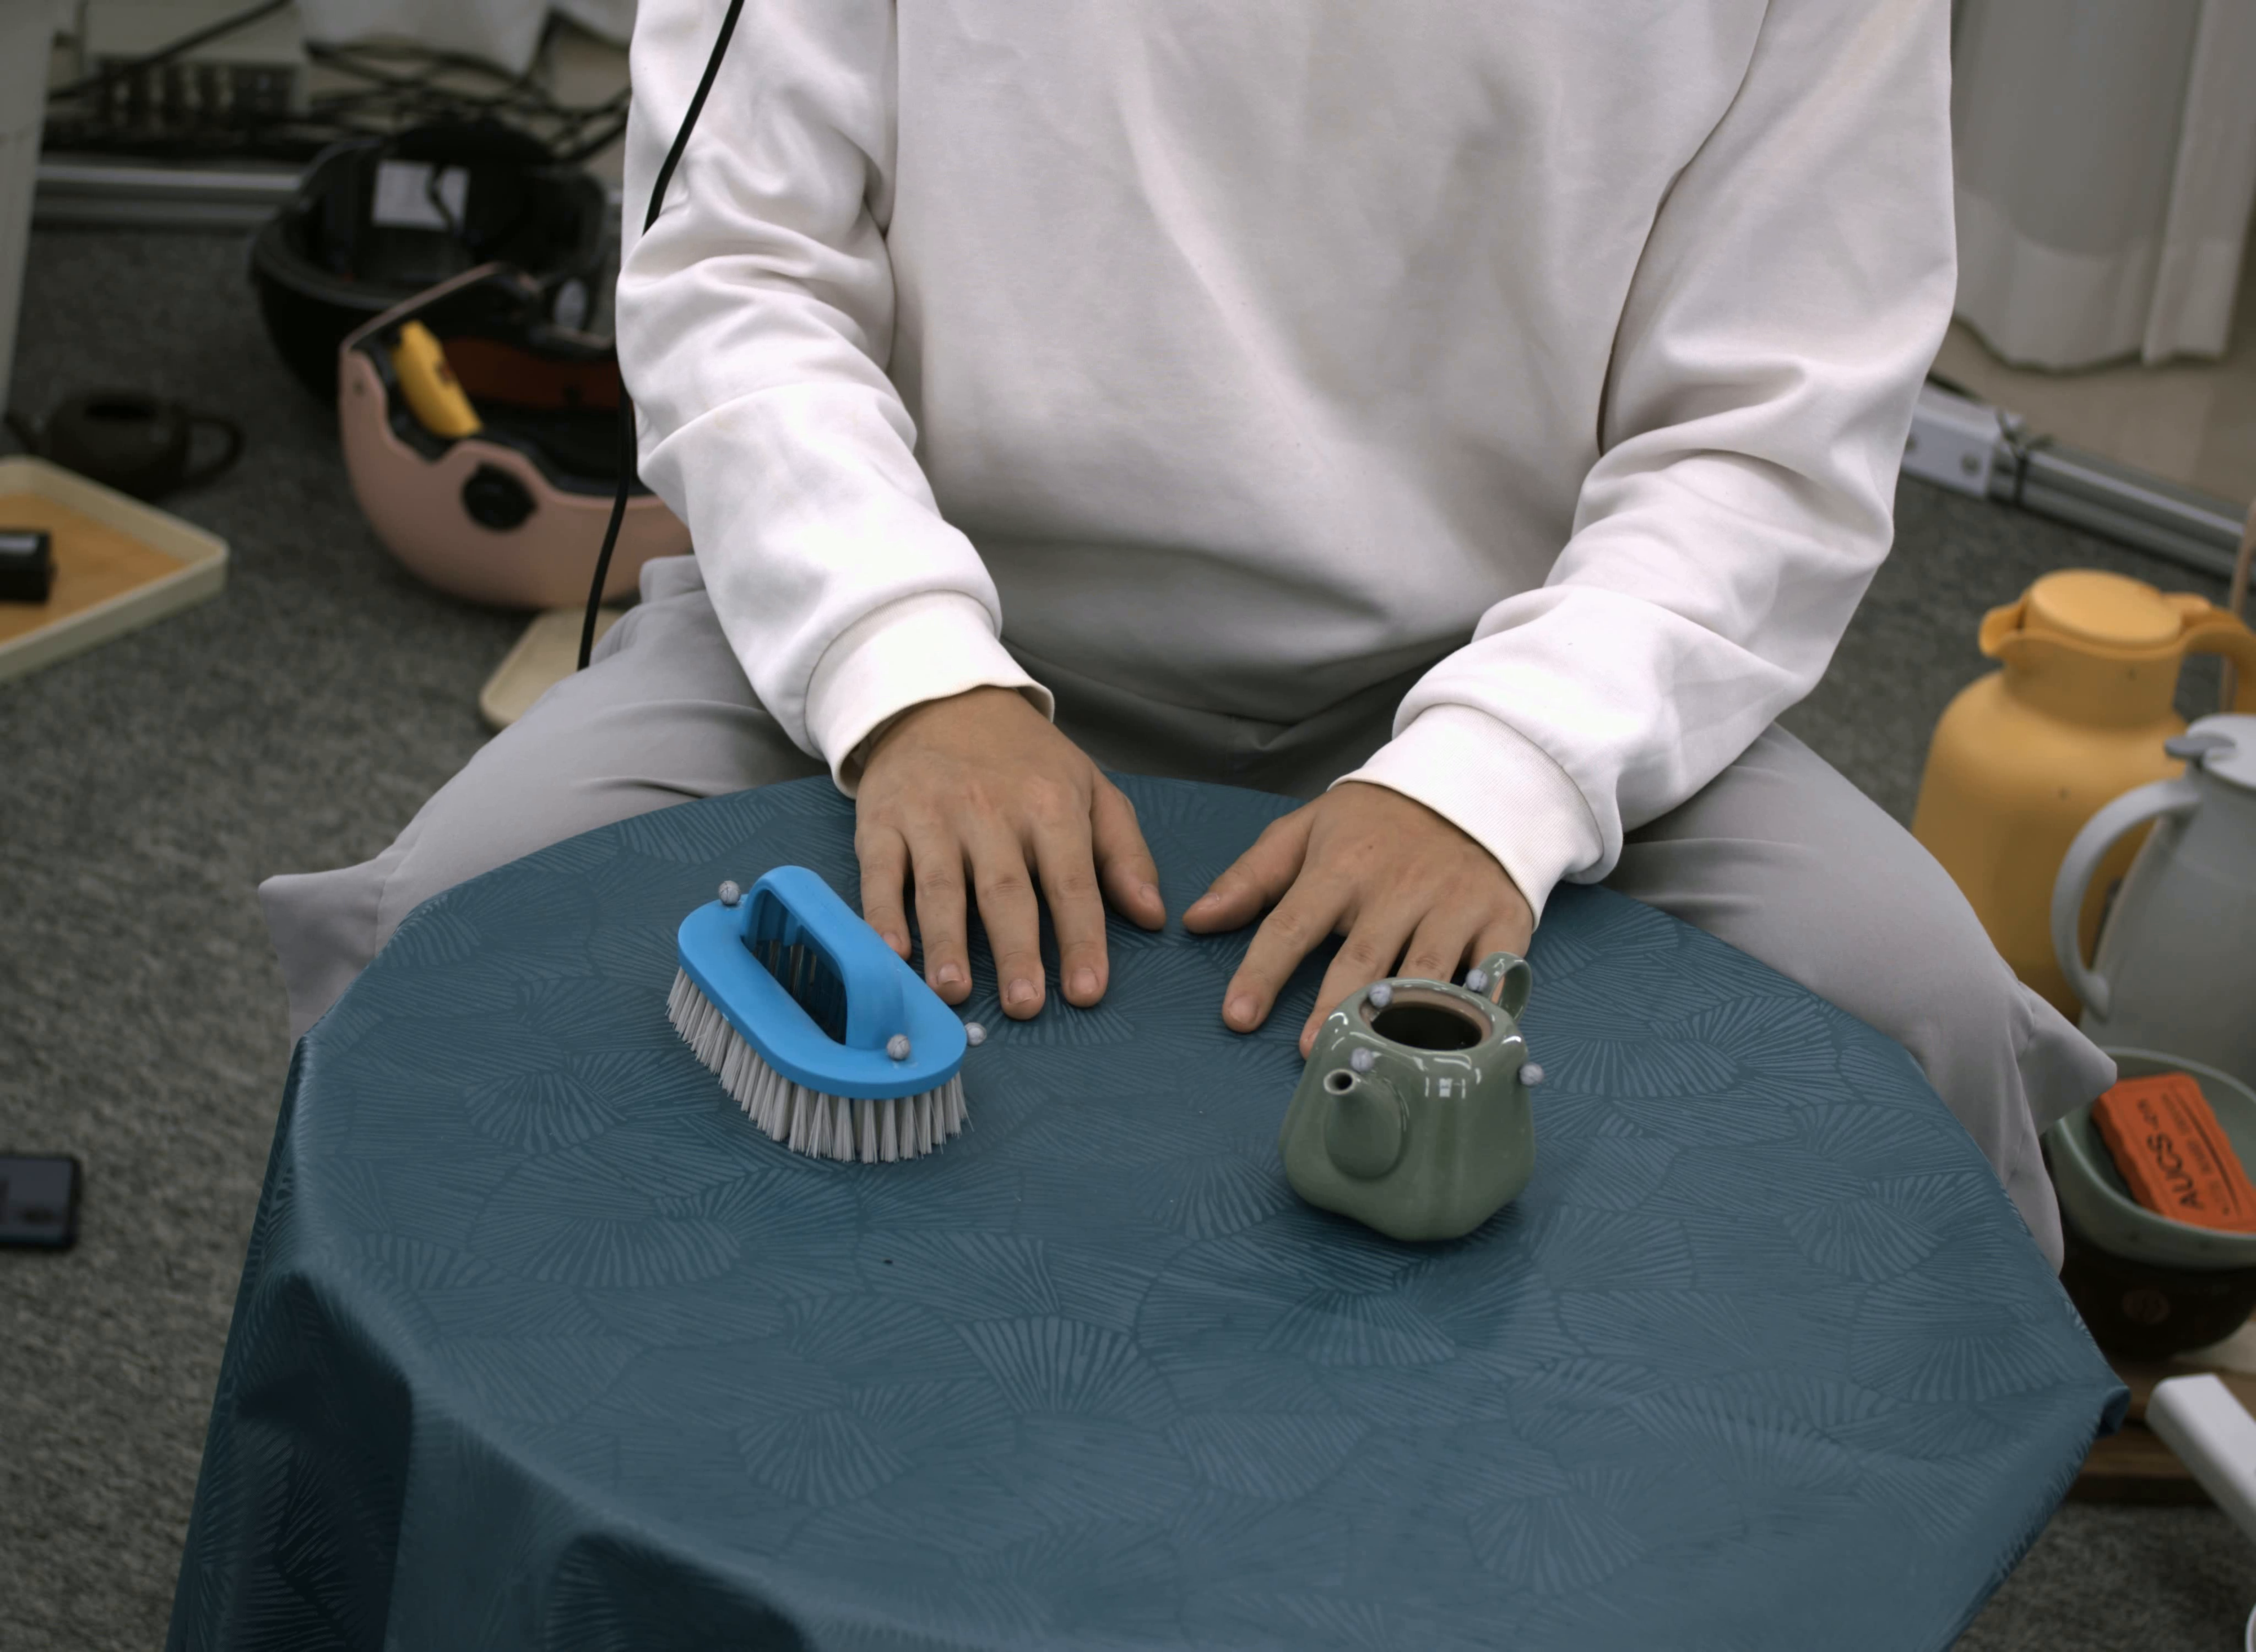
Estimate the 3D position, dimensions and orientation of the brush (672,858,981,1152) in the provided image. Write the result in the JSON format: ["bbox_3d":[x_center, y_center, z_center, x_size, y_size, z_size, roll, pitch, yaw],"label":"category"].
[{"bbox_3d":[-0.107,0.053,1.848,0.084,0.063,0.143,-12,31,-24],"label":"brush"}]

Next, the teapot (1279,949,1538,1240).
[{"bbox_3d":[0.098,0.093,1.809,0.080,0.075,0.132,22,30,27],"label":"teapot"}]
